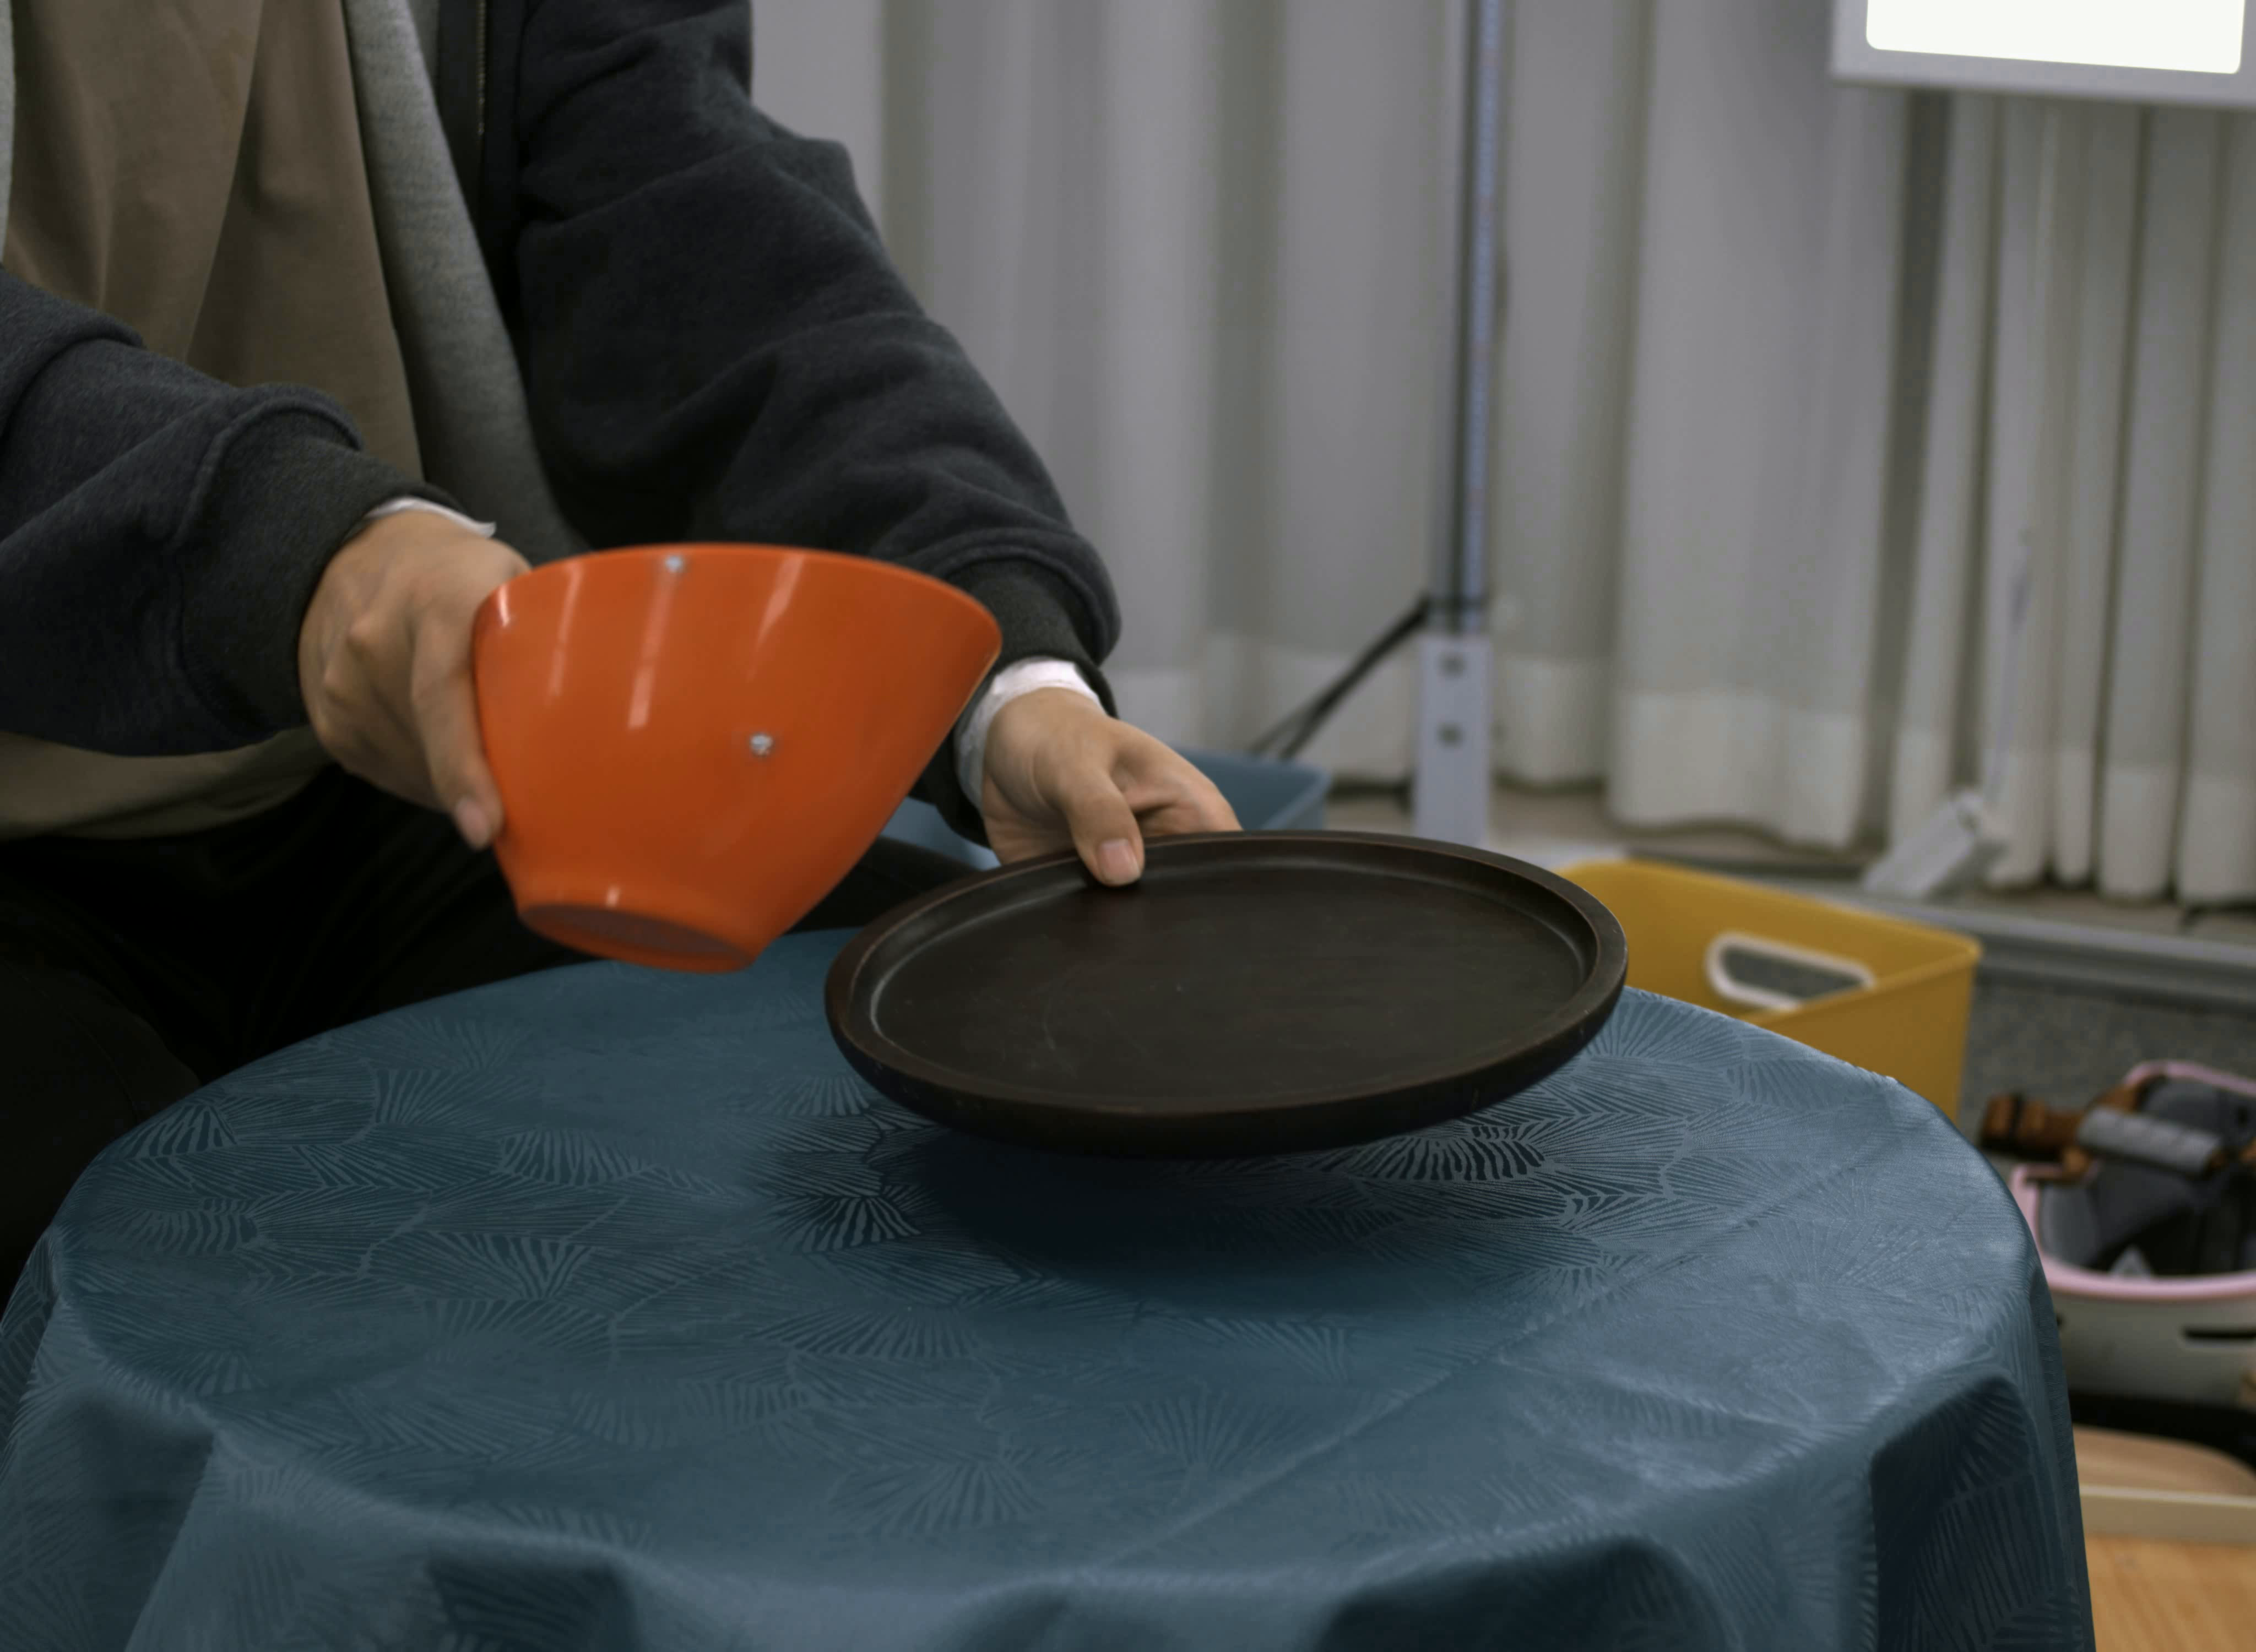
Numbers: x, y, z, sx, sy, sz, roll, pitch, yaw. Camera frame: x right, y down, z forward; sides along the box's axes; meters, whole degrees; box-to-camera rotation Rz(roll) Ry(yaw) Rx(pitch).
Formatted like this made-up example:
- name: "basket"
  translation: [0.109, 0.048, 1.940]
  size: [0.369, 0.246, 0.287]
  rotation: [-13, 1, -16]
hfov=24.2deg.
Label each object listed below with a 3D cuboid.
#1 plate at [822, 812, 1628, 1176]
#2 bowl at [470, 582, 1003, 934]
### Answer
- name: "plate"
  translation: [0.031, 0.053, 1.649]
  size: [0.254, 0.029, 0.253]
  rotation: [-3, 20, 2]
- name: "bowl"
  translation: [-0.116, -0.025, 1.471]
  size: [0.147, 0.105, 0.148]
  rotation: [10, 3, 0]
